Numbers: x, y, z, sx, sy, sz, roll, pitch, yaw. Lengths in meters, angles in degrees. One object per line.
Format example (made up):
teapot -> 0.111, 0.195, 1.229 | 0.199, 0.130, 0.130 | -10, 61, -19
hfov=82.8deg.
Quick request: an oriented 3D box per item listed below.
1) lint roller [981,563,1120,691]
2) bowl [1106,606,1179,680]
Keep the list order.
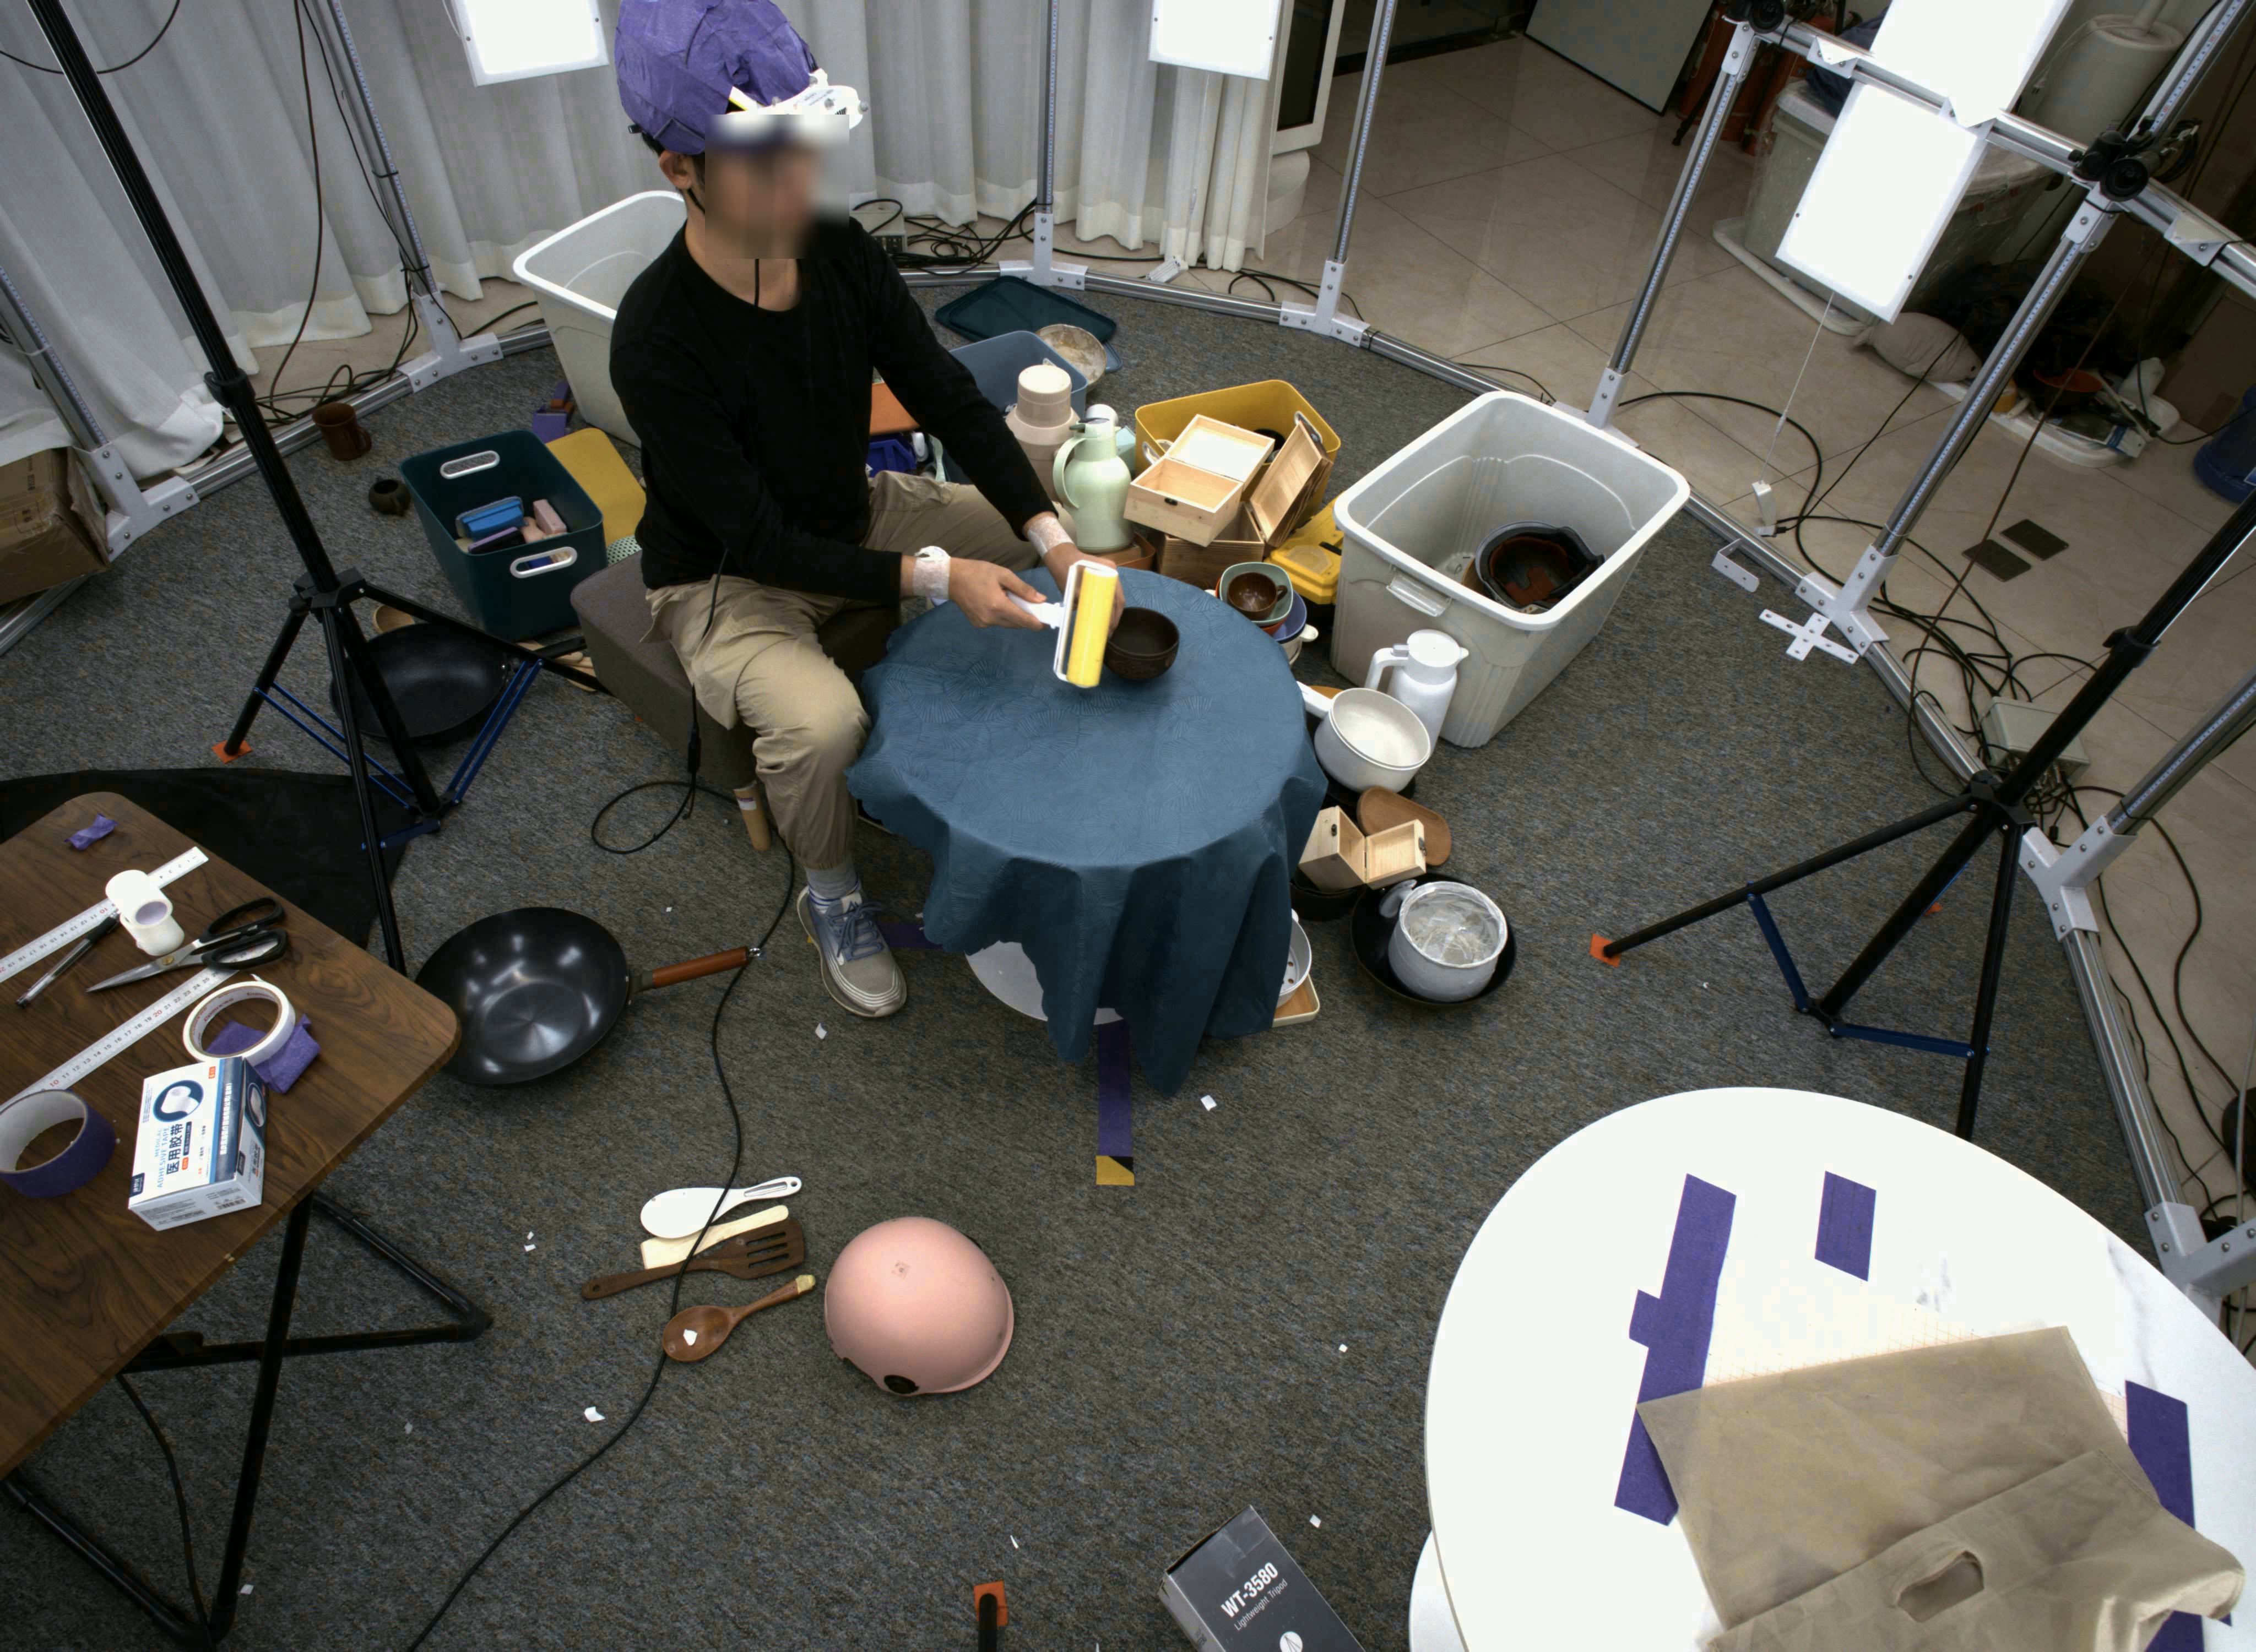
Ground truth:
lint roller -> -0.116, -0.288, 1.787 | 0.192, 0.171, 0.052 | 12, 23, 6
bowl -> 0.012, -0.254, 1.840 | 0.118, 0.068, 0.121 | 6, 43, -6
